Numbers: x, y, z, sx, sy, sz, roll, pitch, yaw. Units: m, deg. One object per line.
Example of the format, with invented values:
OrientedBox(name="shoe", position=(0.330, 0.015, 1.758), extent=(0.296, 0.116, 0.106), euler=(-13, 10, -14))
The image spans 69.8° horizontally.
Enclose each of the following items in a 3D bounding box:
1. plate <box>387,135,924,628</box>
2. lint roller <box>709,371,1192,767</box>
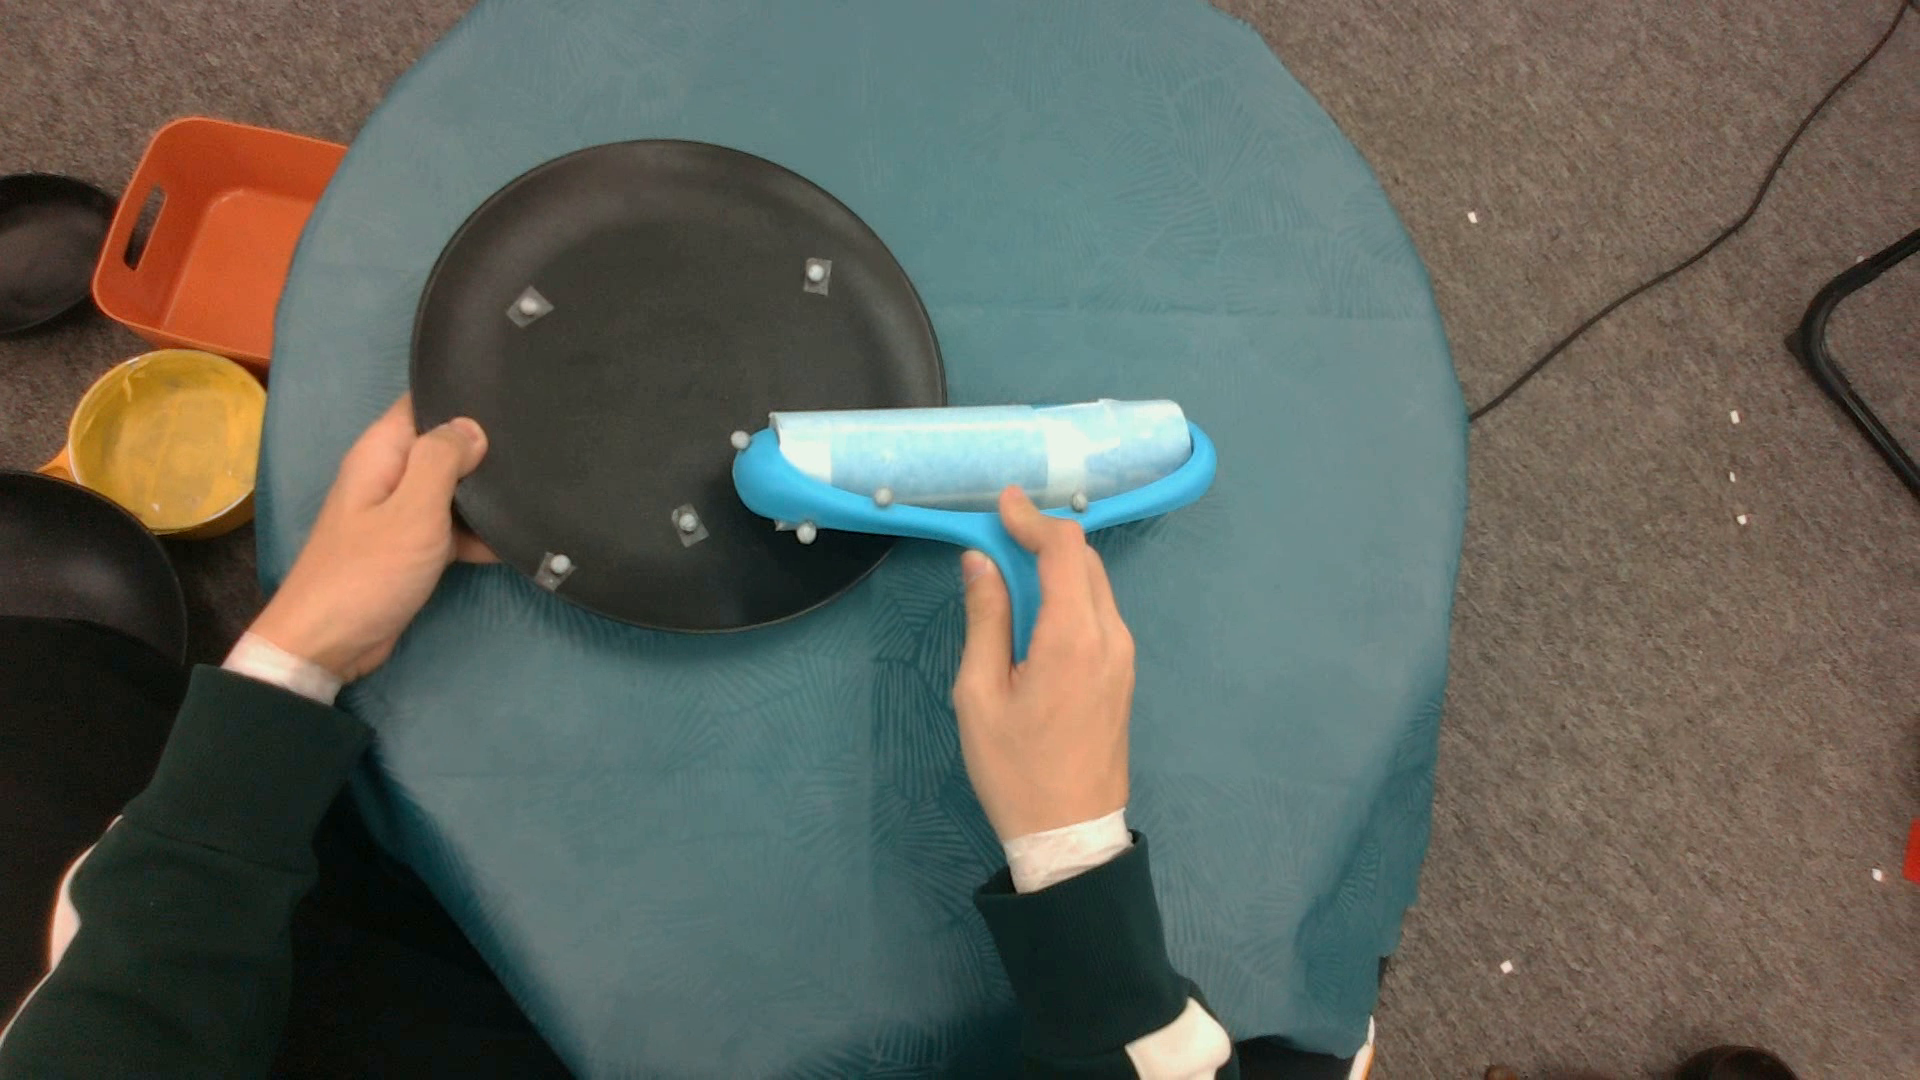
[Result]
OrientedBox(name="plate", position=(-0.136, -0.076, 0.643), extent=(0.245, 0.023, 0.245), euler=(6, 72, -18))
OrientedBox(name="lint roller", position=(0.014, 0.006, 0.615), extent=(0.229, 0.067, 0.181), euler=(-8, 63, -19))
